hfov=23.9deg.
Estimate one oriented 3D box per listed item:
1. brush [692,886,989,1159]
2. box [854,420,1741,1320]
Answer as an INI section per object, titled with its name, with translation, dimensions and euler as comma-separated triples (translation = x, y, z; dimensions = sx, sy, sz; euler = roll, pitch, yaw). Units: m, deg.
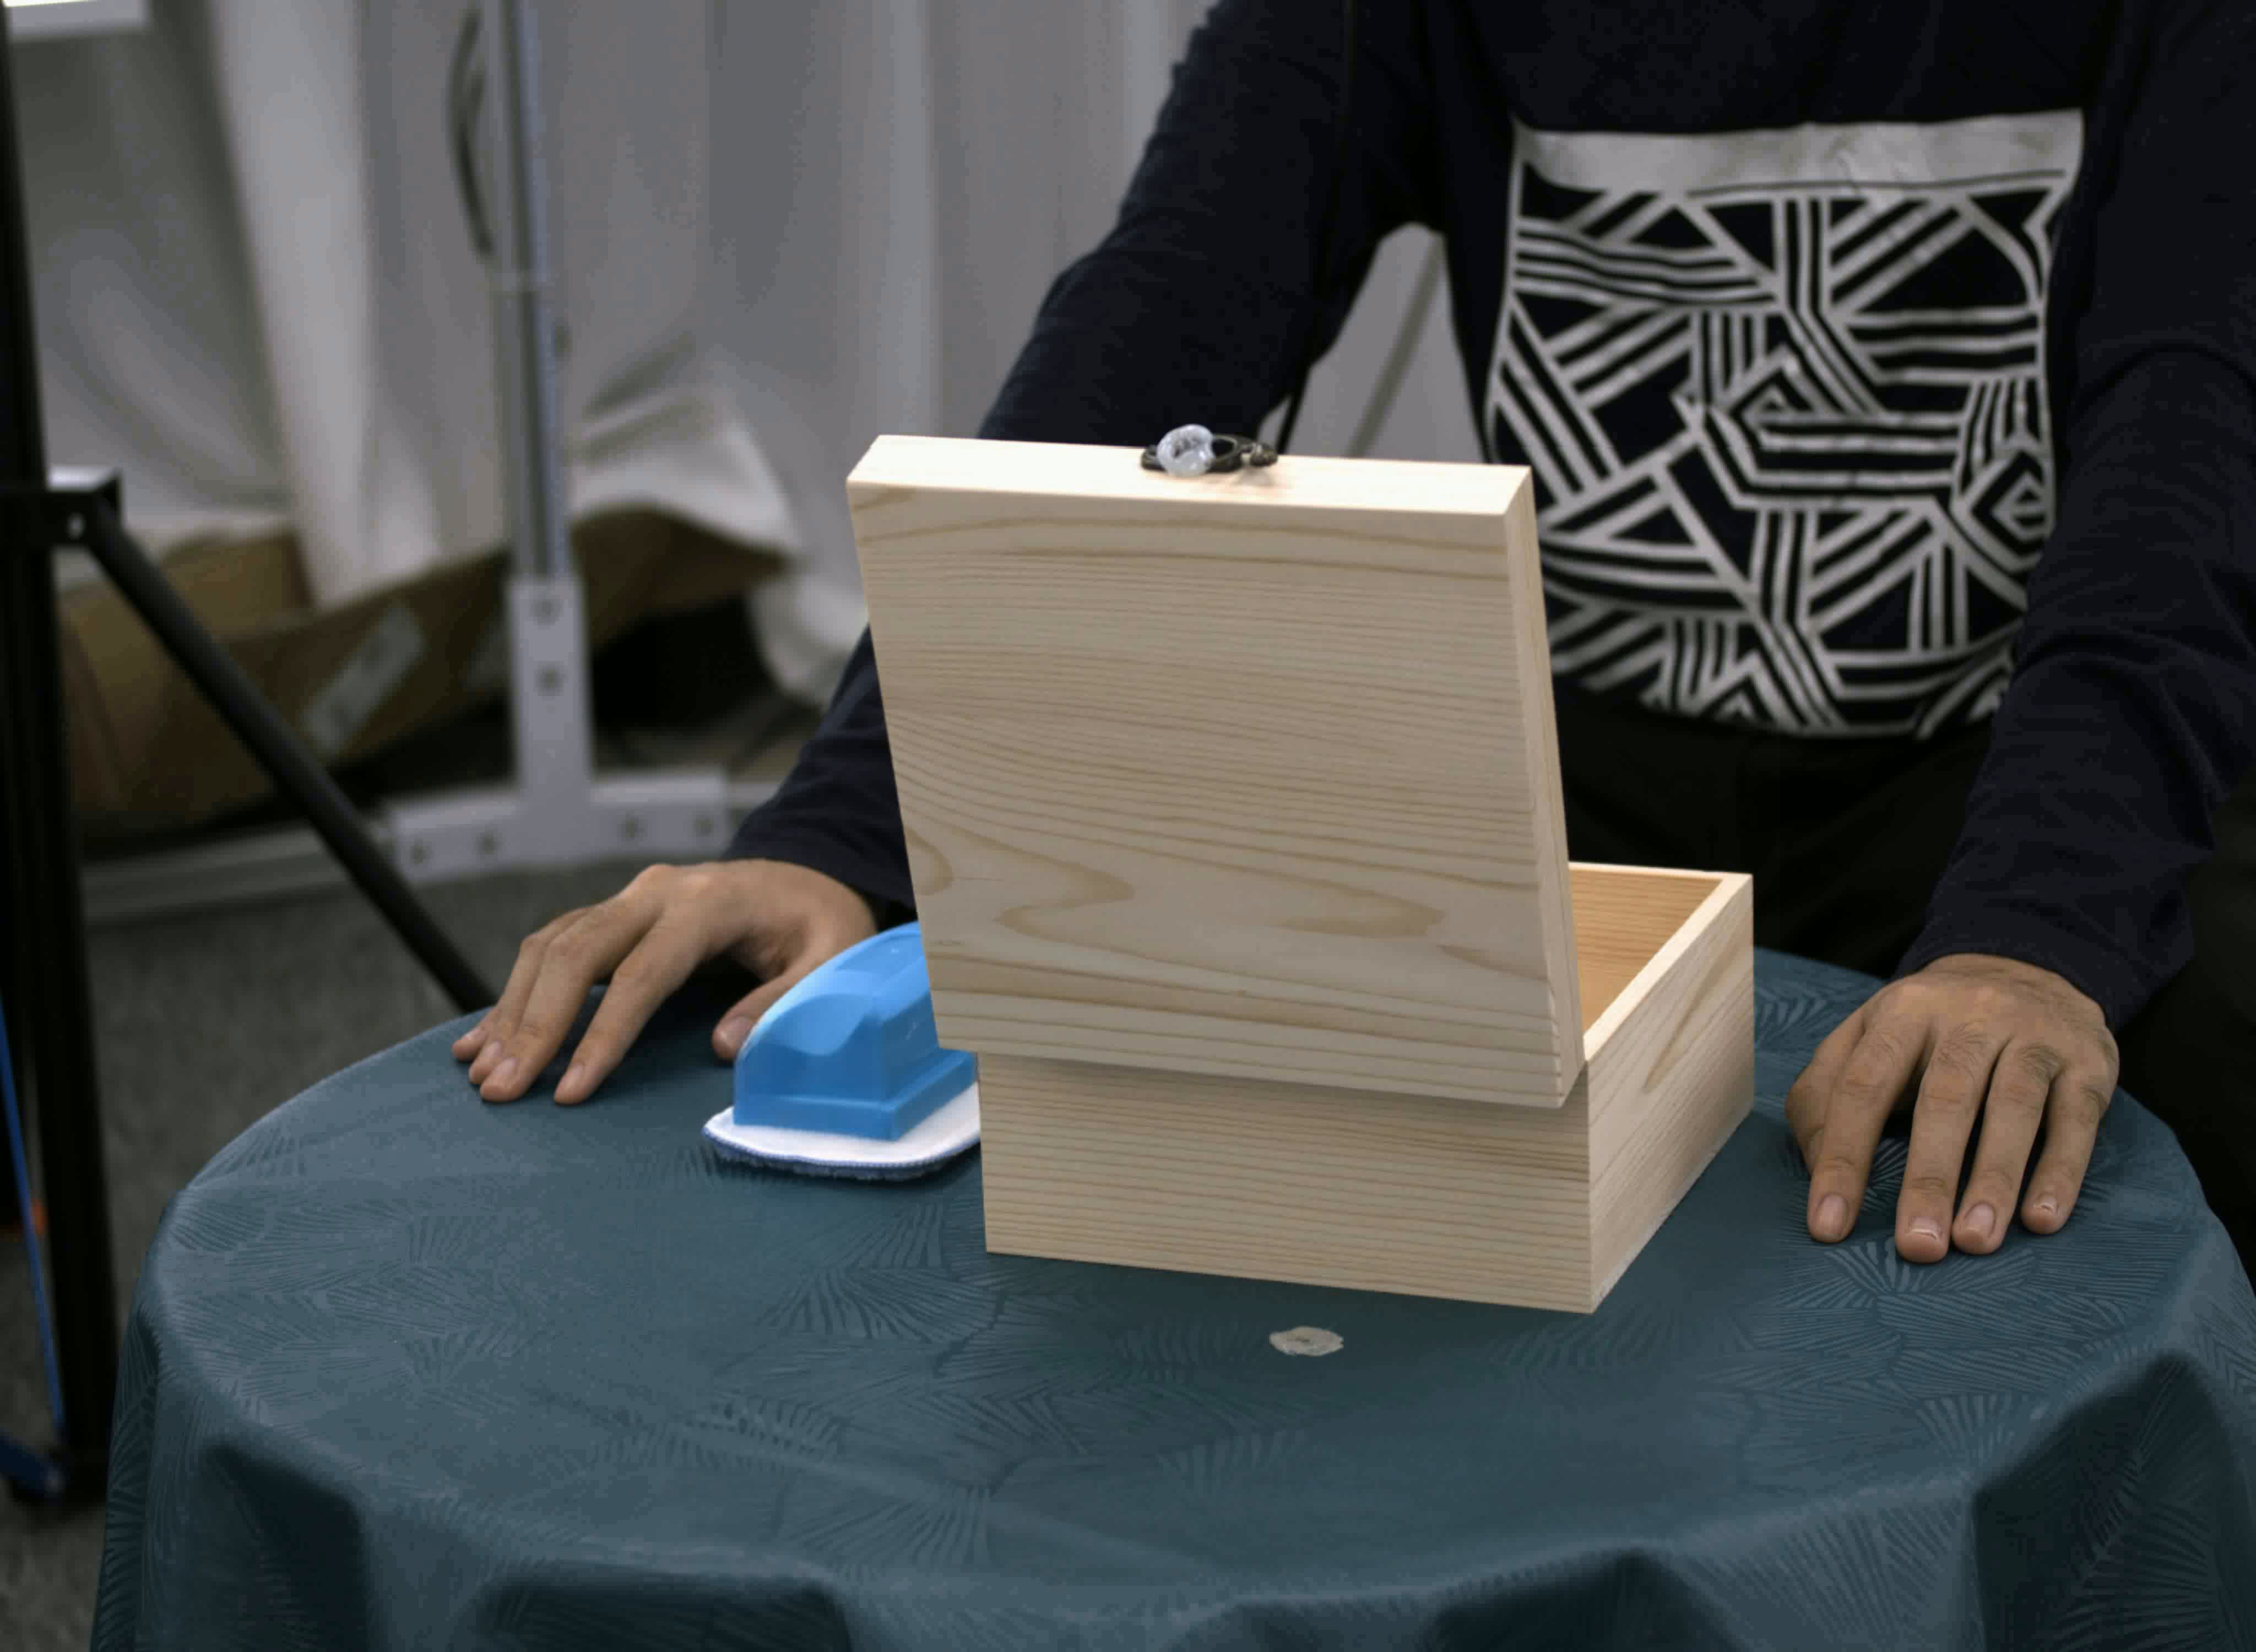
[brush]
translation = -0.070, 0.056, 1.644
dimensions = 0.085, 0.056, 0.142
euler = 9, 21, 24
[box]
translation = 0.058, -0.008, 1.500
dimensions = 0.184, 0.253, 0.262
euler = 5, 17, 20
